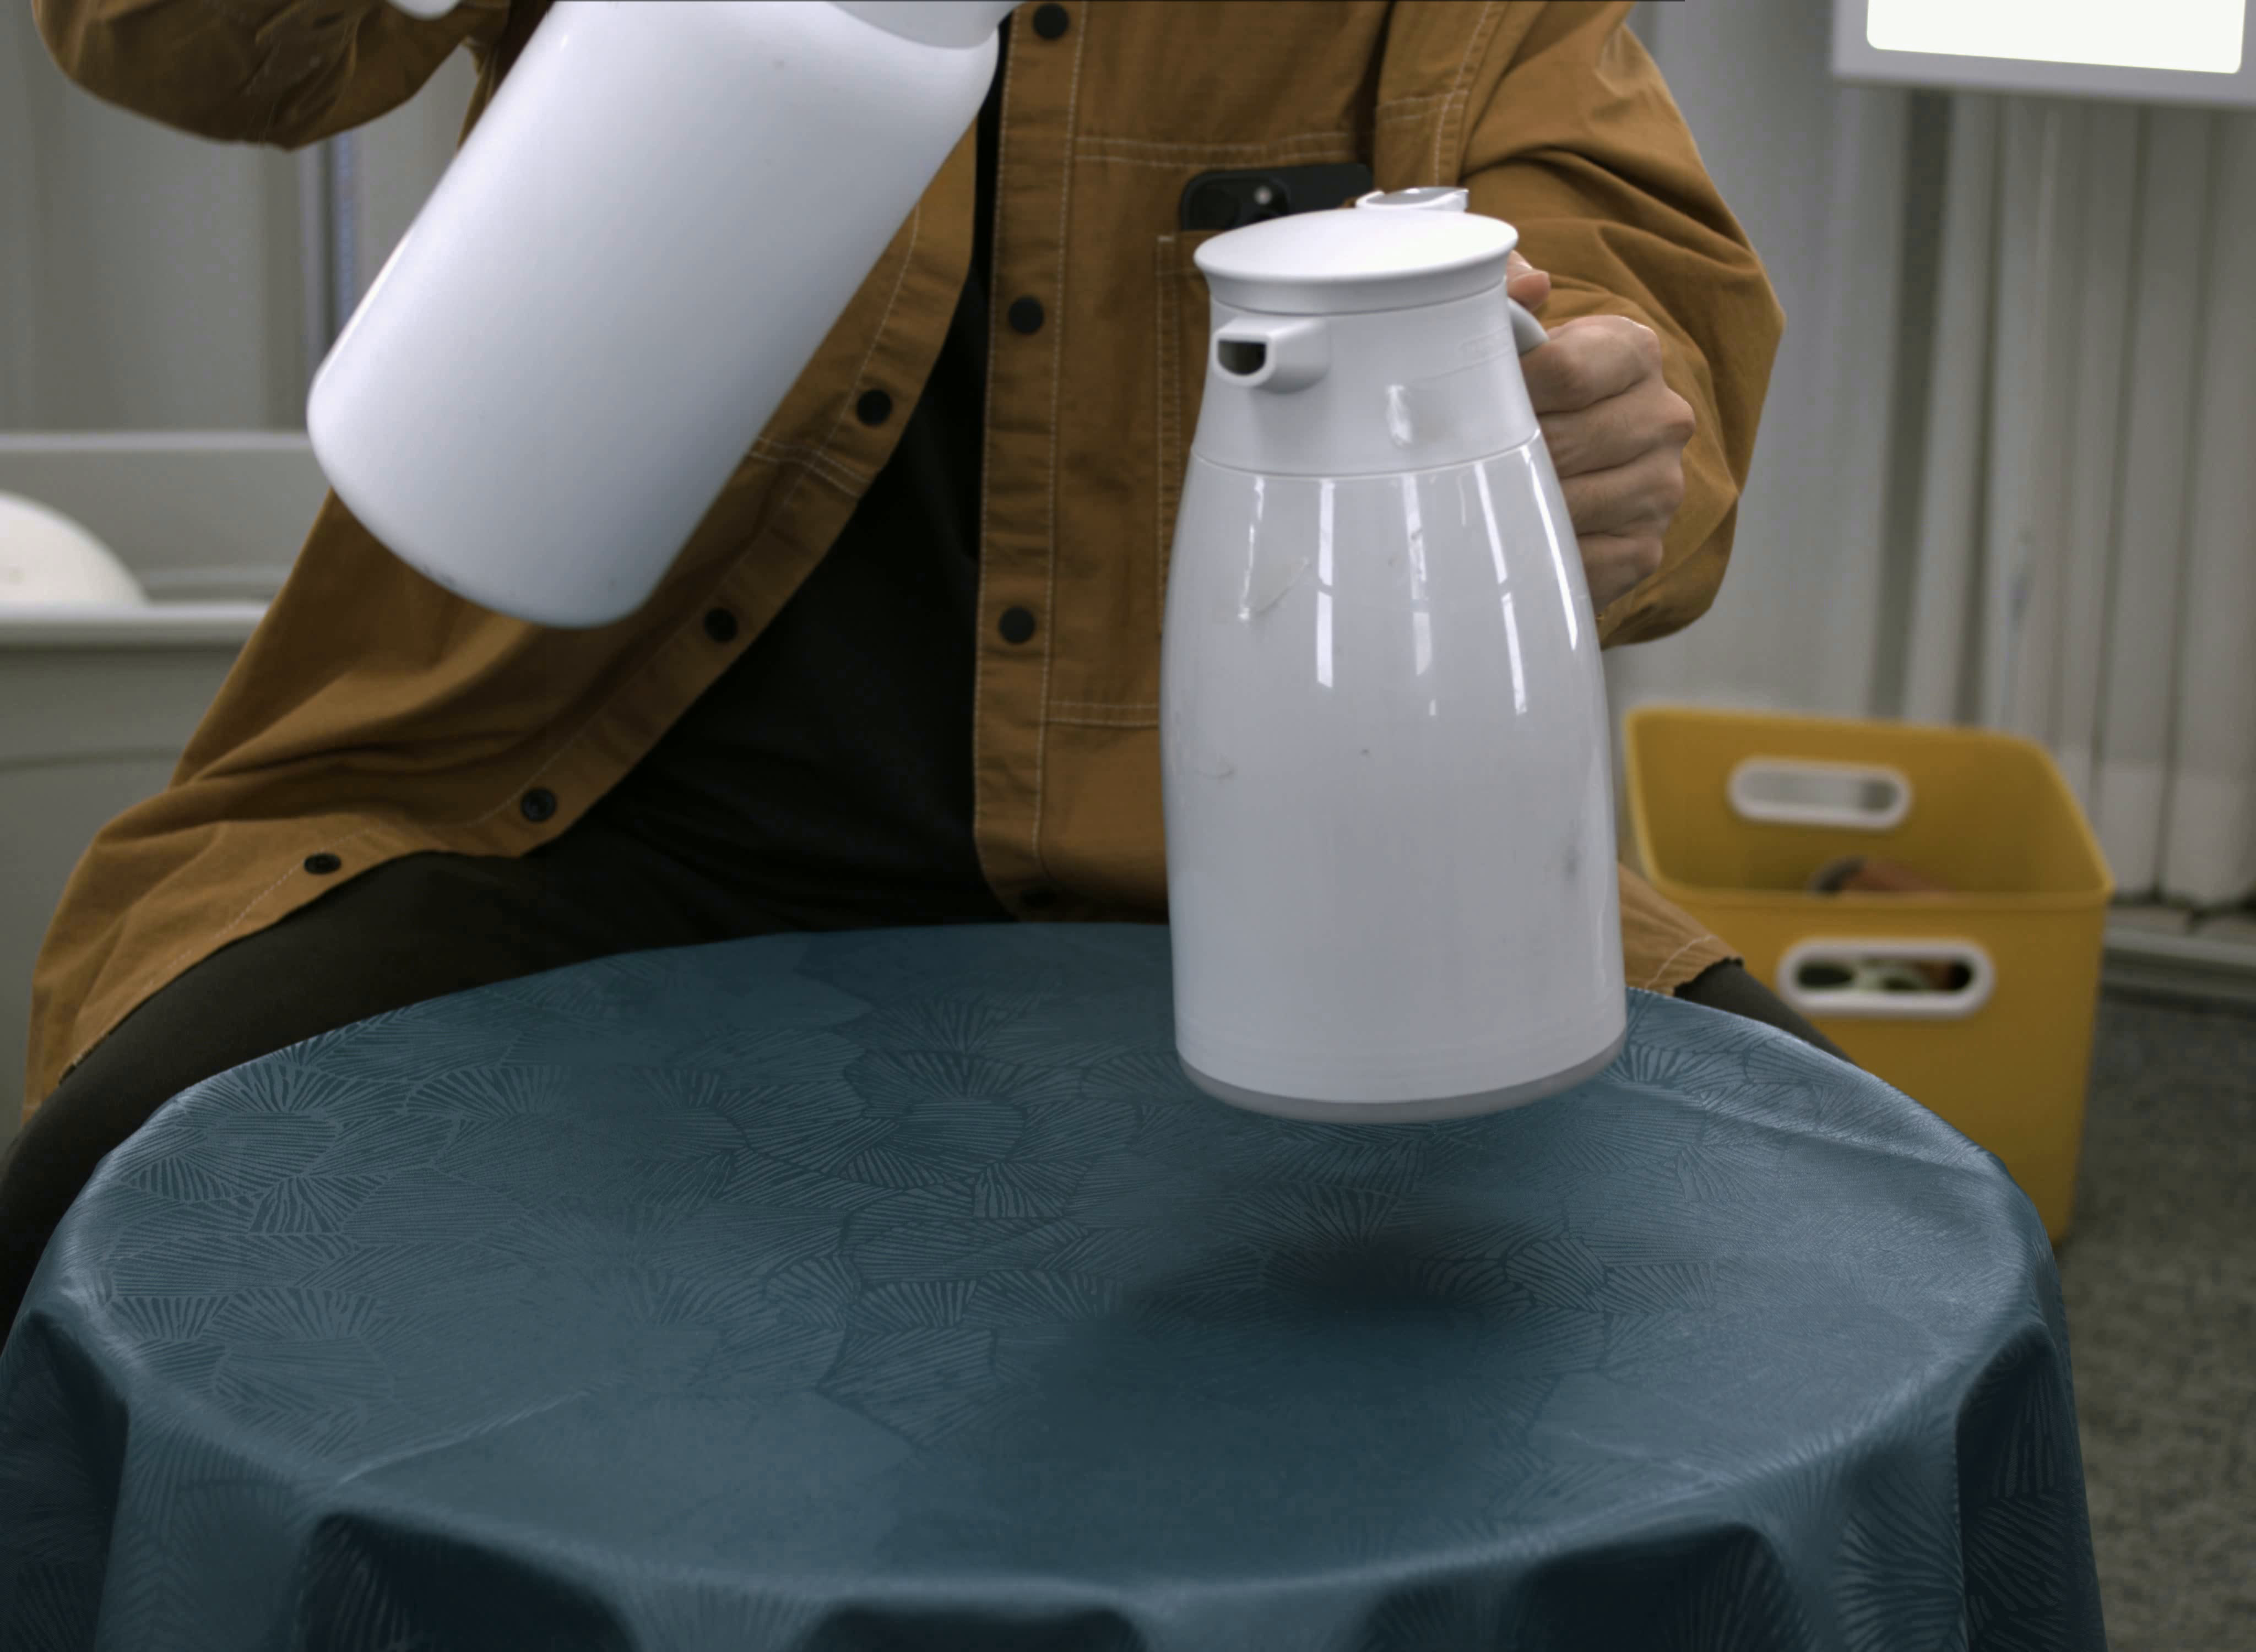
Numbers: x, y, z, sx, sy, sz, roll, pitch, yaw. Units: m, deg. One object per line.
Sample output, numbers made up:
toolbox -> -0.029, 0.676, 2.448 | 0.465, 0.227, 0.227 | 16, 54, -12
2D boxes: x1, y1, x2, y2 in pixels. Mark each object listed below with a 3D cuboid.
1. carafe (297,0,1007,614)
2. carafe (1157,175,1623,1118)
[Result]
carafe -> -0.139, -0.203, 1.498 | 0.172, 0.269, 0.123 | 38, 28, 1
carafe -> 0.081, -0.060, 1.518 | 0.131, 0.251, 0.168 | 7, 19, 32
